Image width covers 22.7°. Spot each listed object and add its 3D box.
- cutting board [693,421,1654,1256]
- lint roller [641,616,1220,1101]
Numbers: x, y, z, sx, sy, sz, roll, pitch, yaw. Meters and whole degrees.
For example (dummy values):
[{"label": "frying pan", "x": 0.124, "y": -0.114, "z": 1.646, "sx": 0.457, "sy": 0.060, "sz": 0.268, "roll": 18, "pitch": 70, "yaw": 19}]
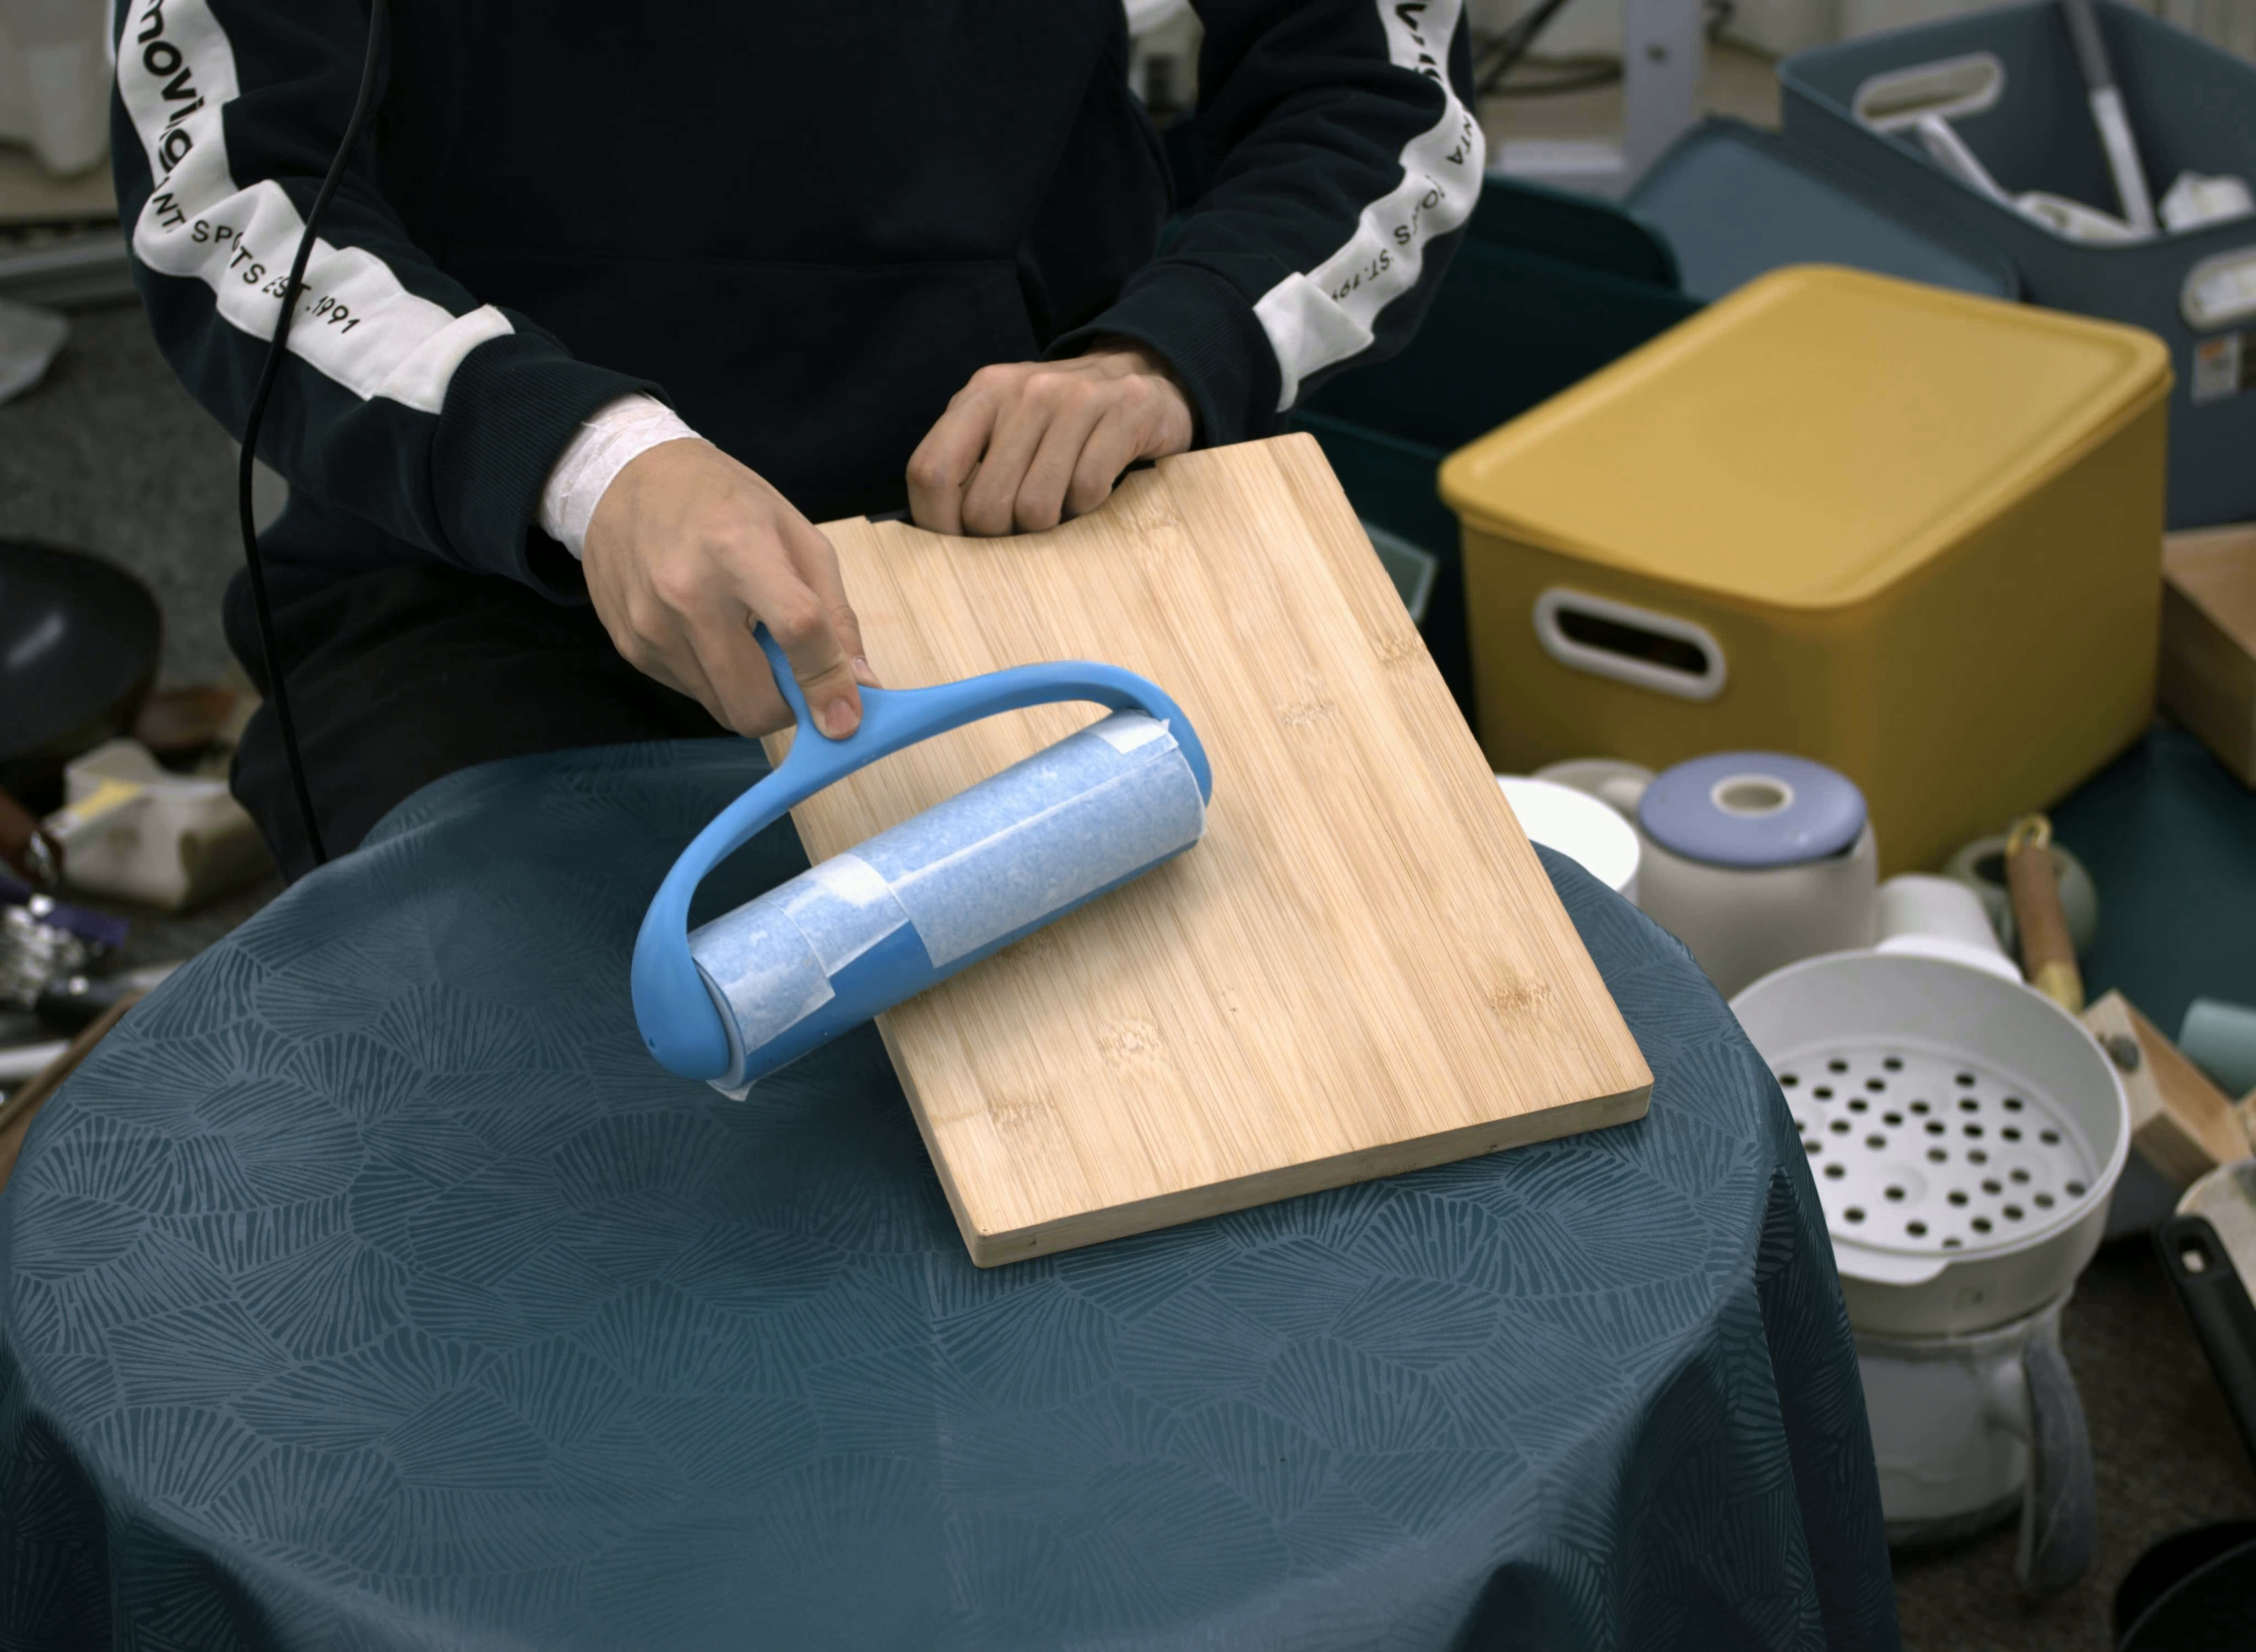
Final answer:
[{"label": "cutting board", "x": 0.008, "y": -0.003, "z": 1.966, "sx": 0.251, "sy": 0.023, "sz": 0.353, "roll": -12, "pitch": 47, "yaw": -16}, {"label": "lint roller", "x": -0.099, "y": -0.017, "z": 1.900, "sx": 0.231, "sy": 0.067, "sz": 0.181, "roll": -31, "pitch": 67, "yaw": -28}]
